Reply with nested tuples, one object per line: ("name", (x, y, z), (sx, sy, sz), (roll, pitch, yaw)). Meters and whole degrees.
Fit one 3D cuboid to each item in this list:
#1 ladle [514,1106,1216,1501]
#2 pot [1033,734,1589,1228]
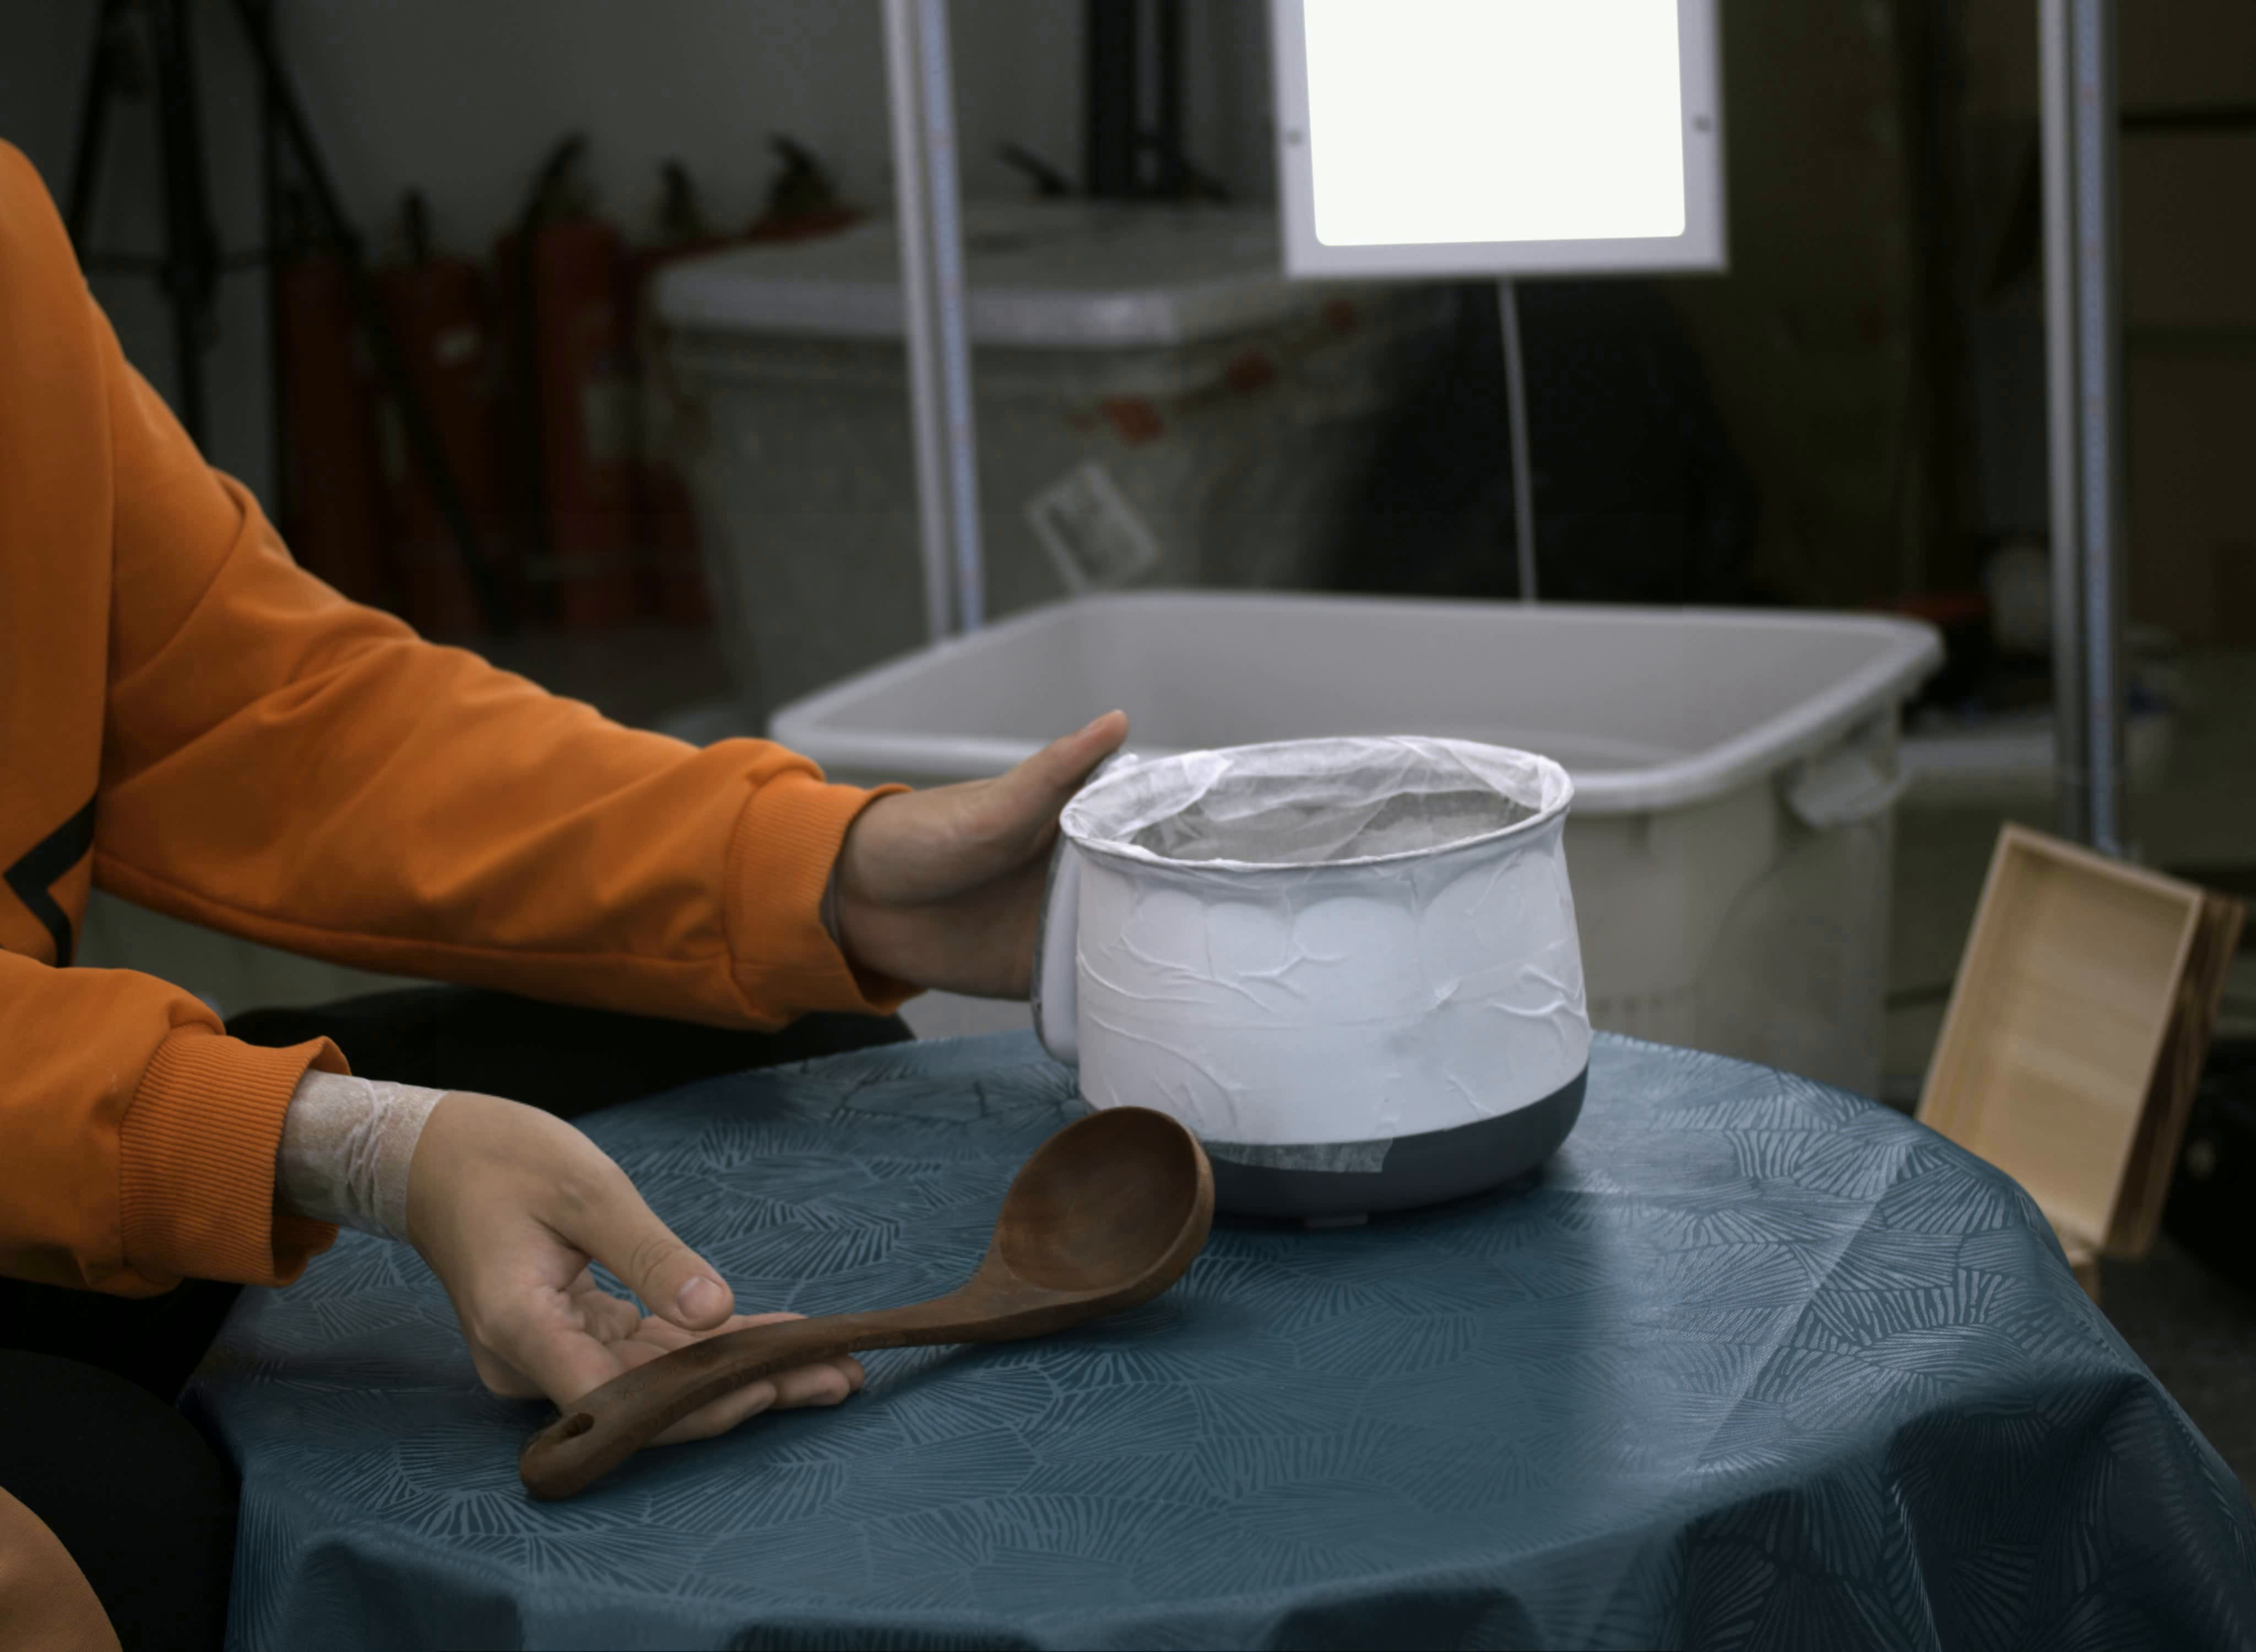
("ladle", (-0.081, 0.146, 1.714), (0.254, 0.065, 0.078), (-14, 23, -35))
("pot", (0.050, 0.048, 1.910), (0.174, 0.137, 0.239), (-16, 18, -40))
